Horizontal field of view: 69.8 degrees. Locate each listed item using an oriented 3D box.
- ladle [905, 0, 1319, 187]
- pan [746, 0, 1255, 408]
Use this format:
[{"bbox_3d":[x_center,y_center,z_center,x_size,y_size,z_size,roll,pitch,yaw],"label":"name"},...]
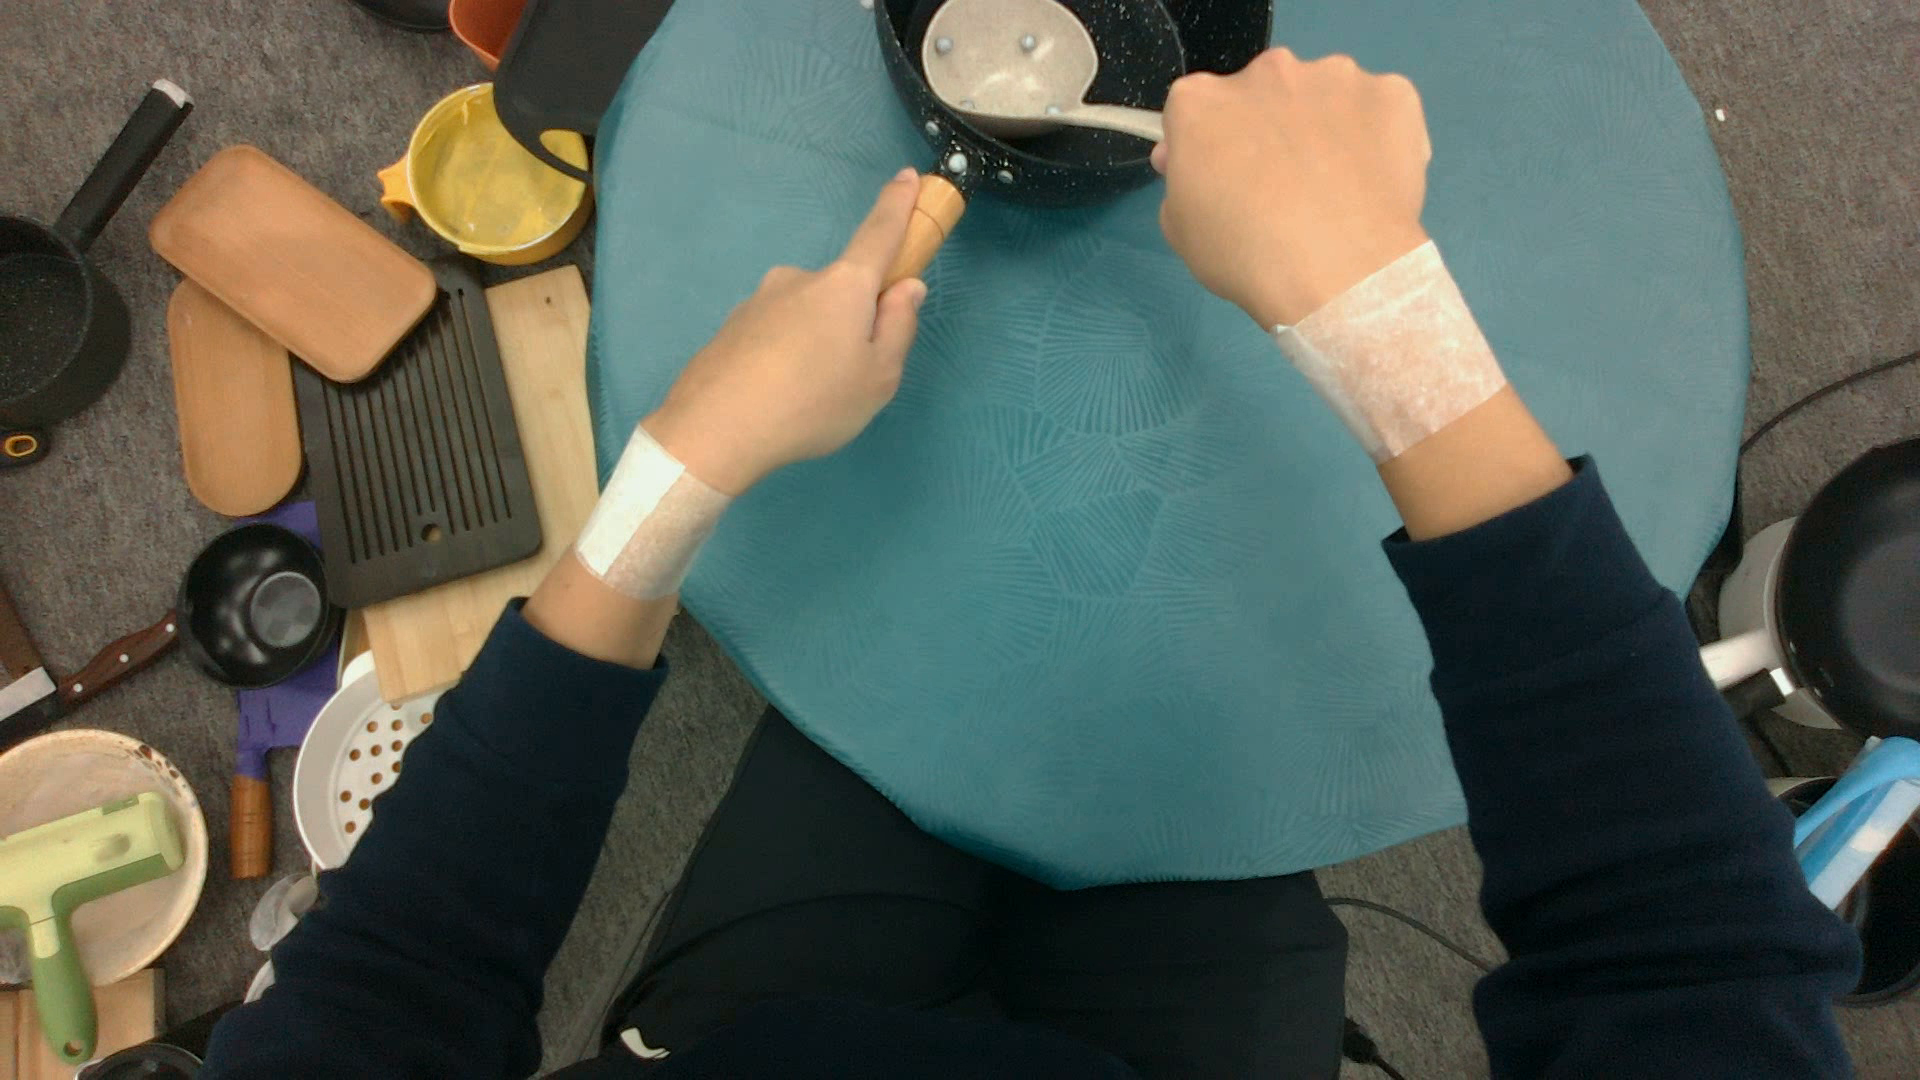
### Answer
[{"bbox_3d":[0.061,-0.203,0.583,0.089,0.275,0.069,-16,117,-20],"label":"ladle"},{"bbox_3d":[0.003,-0.191,0.642,0.207,0.108,0.343,31,77,-3],"label":"pan"}]
